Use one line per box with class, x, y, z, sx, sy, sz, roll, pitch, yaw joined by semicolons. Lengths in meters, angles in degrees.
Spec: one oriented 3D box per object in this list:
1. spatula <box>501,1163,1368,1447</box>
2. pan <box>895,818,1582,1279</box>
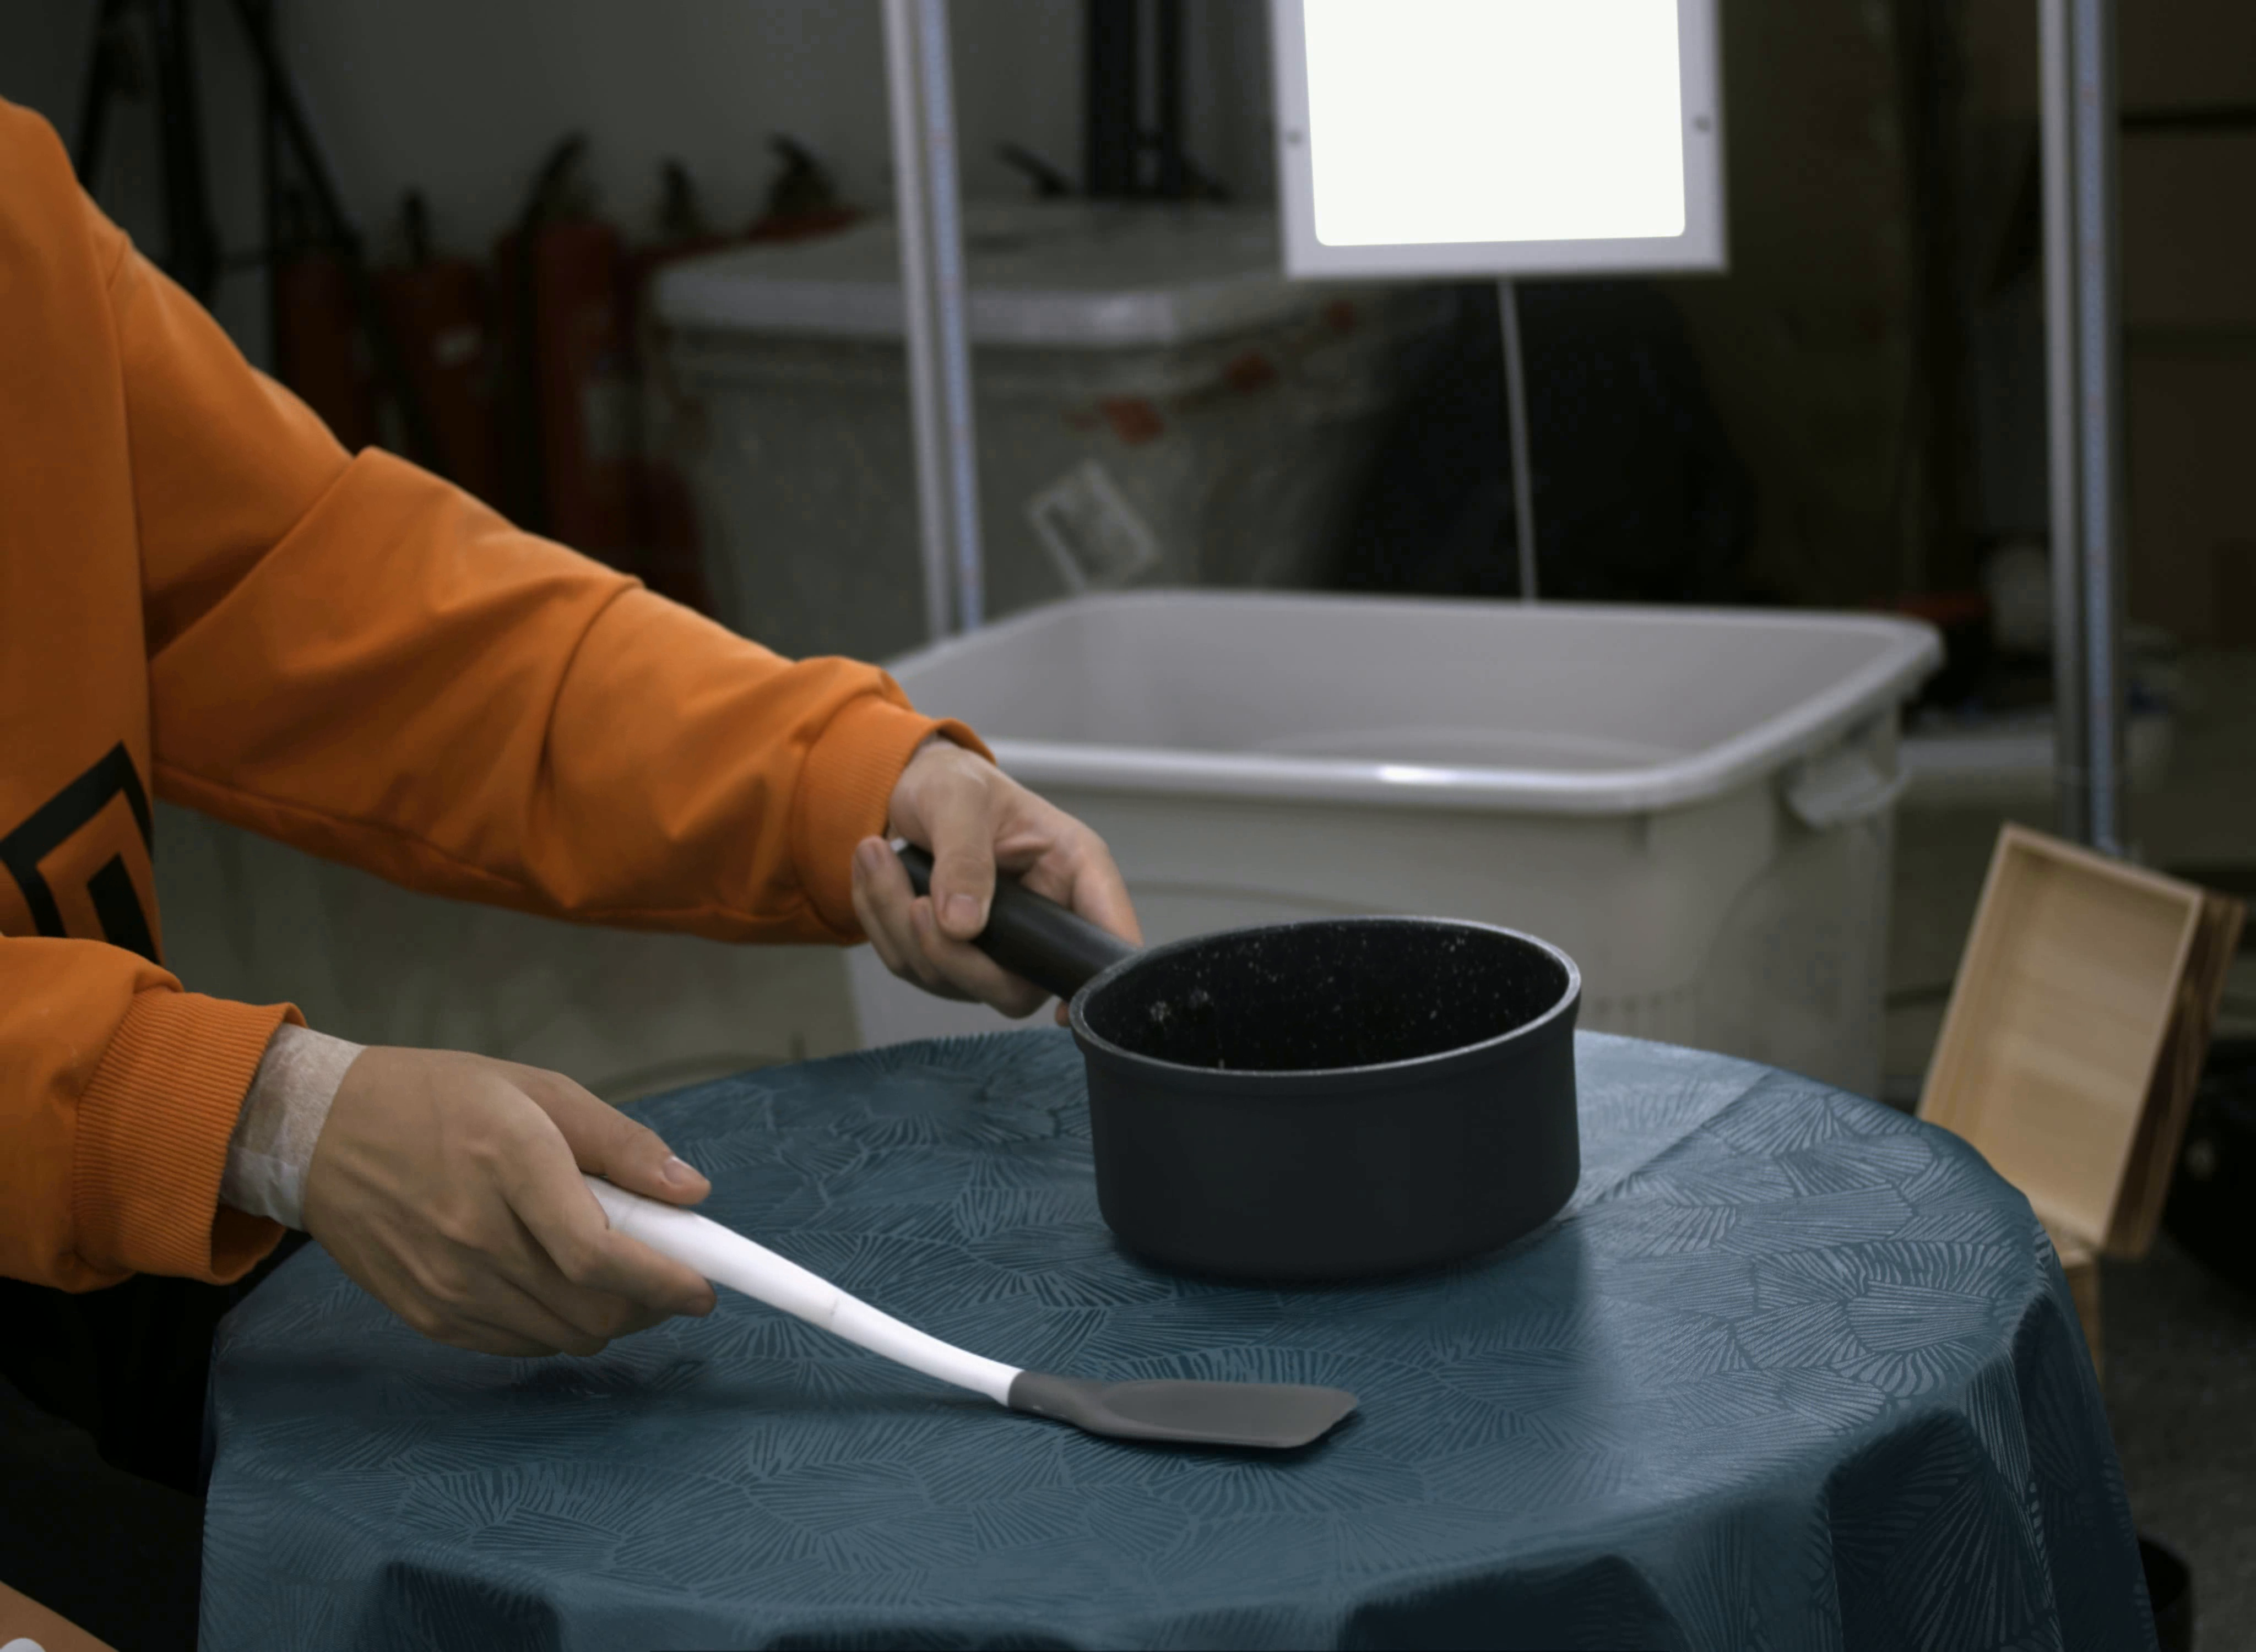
spatula;-0.064;0.154;1.703;0.292;0.032;0.057;14;12;24
pan;0.021;0.072;1.902;0.168;0.087;0.335;-15;19;-32
